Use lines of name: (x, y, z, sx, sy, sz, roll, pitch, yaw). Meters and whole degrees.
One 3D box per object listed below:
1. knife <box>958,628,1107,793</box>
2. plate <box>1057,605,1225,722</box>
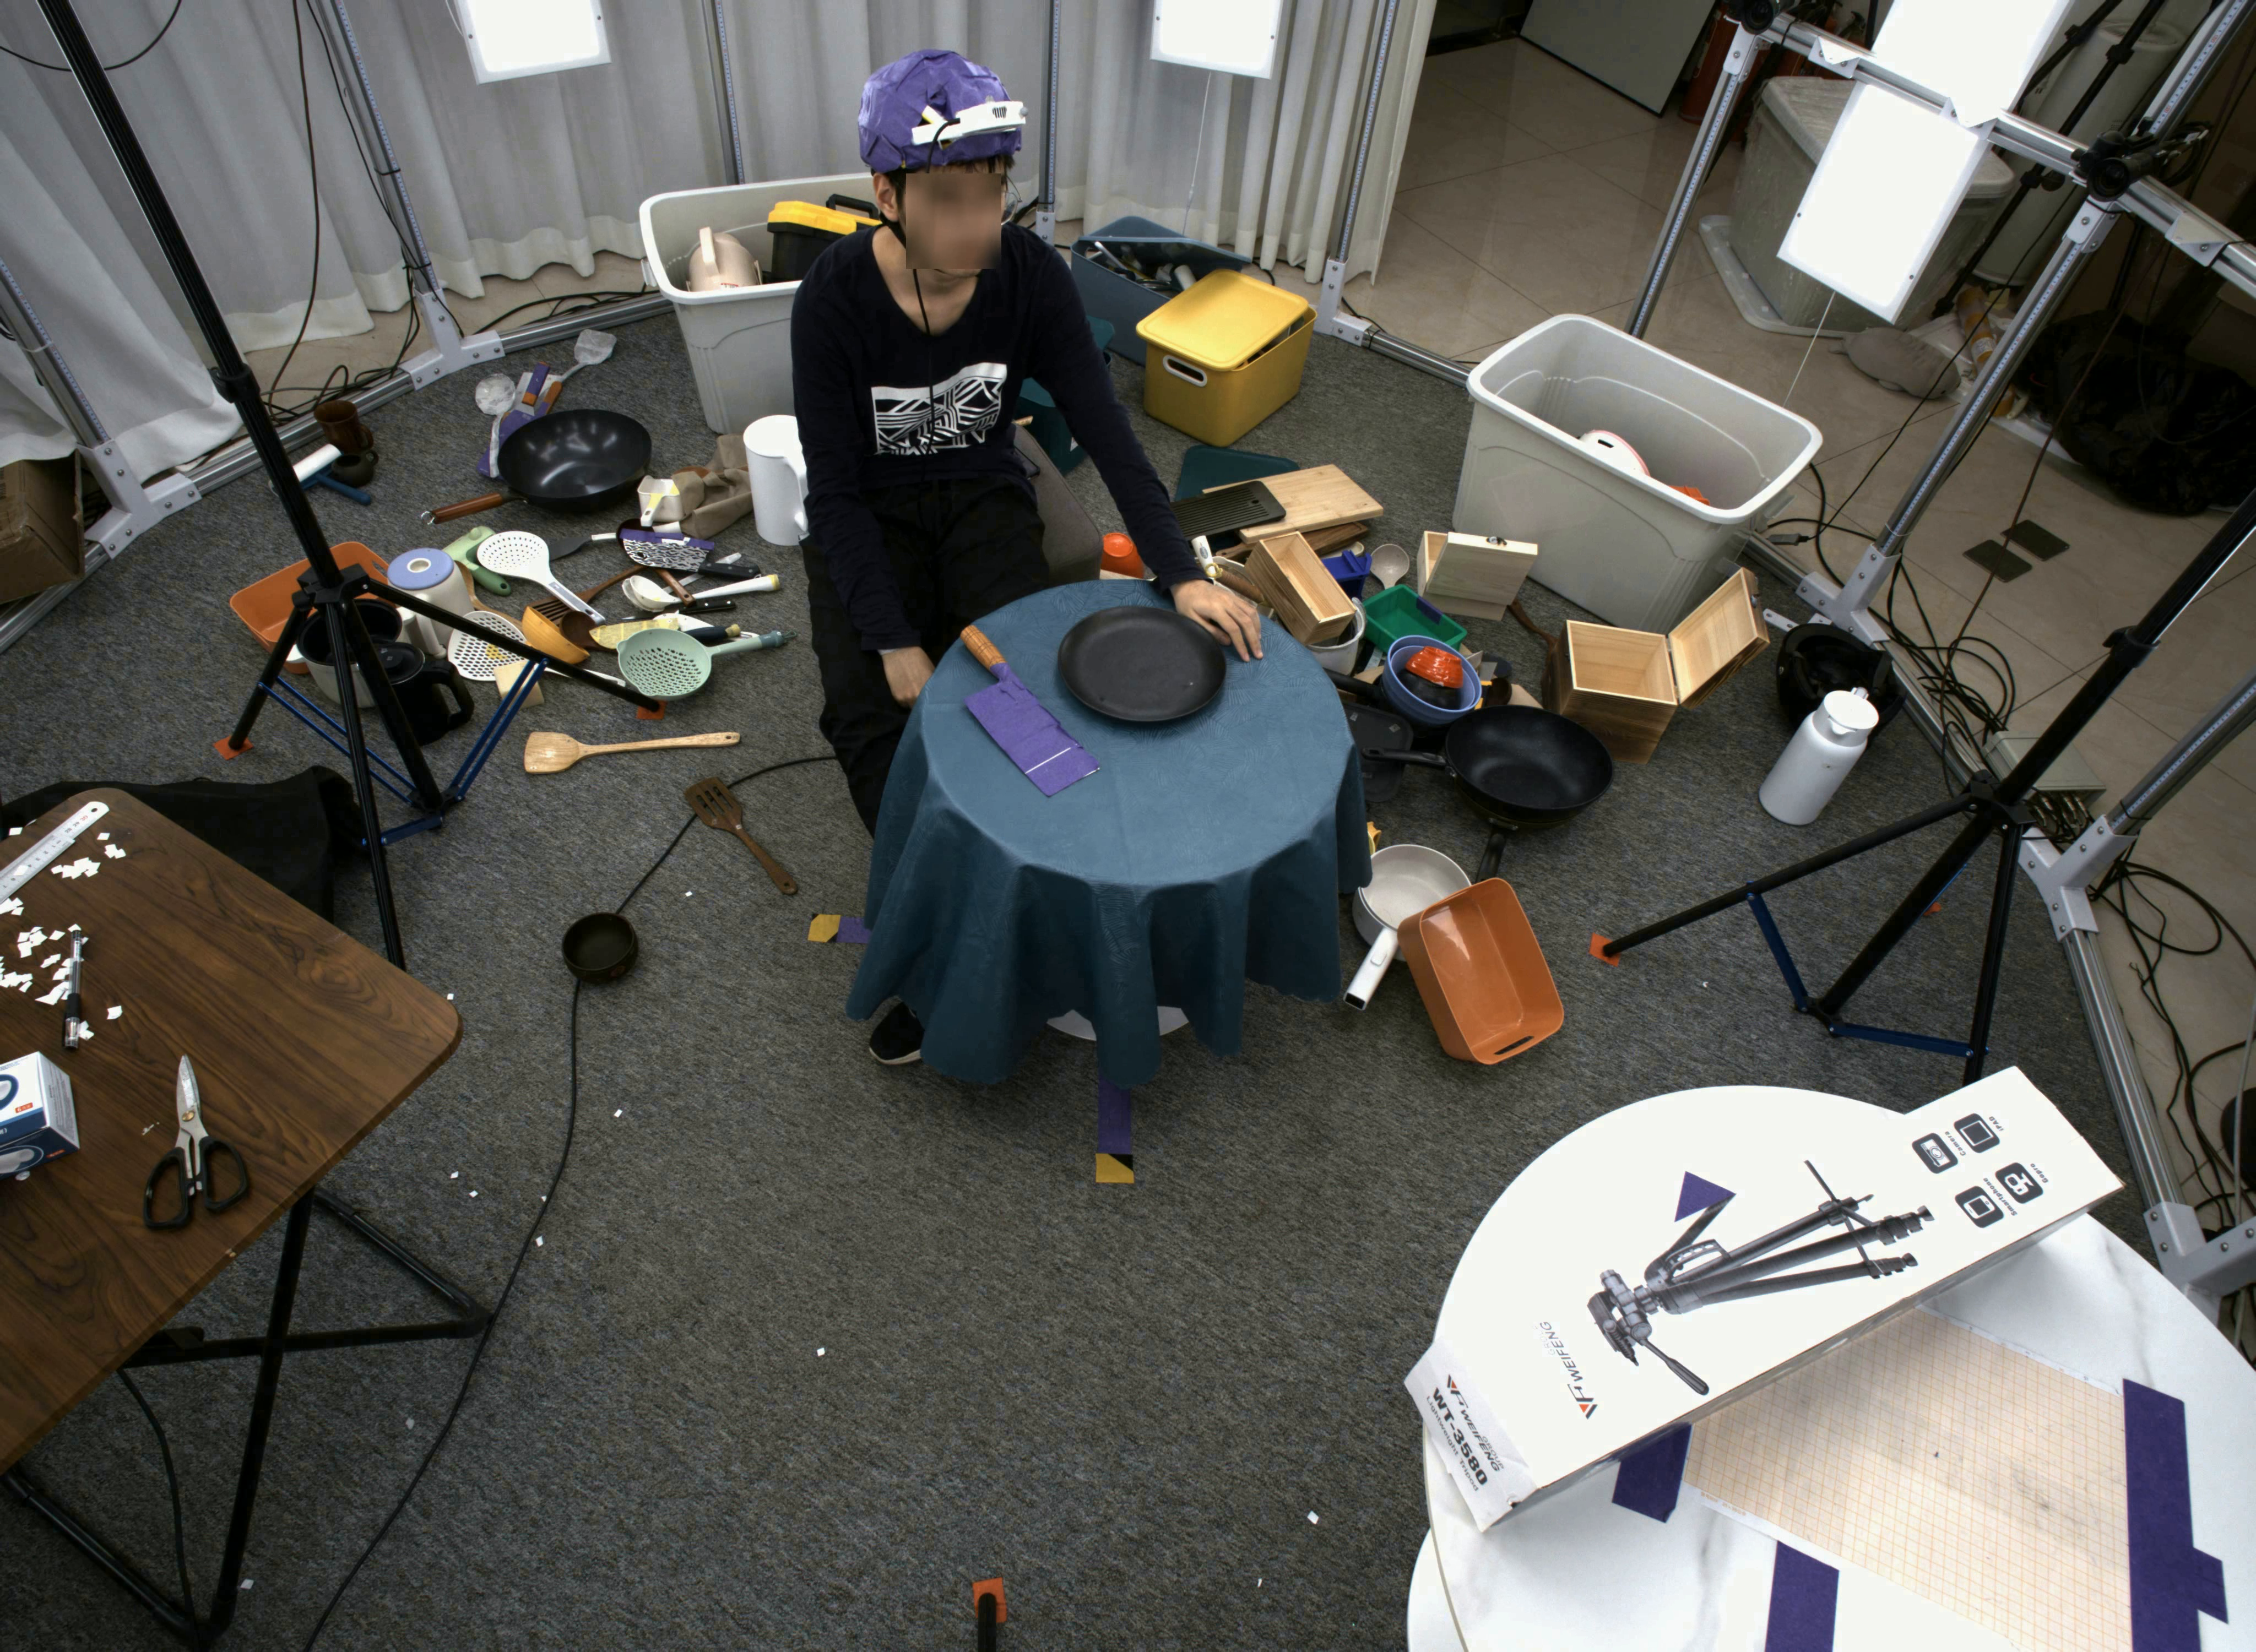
knife: (-0.162, -0.164, 1.782, 0.104, 0.031, 0.321, -28, 57, -26)
plate: (0.019, -0.233, 1.856, 0.244, 0.023, 0.250, 2, 49, -3)
